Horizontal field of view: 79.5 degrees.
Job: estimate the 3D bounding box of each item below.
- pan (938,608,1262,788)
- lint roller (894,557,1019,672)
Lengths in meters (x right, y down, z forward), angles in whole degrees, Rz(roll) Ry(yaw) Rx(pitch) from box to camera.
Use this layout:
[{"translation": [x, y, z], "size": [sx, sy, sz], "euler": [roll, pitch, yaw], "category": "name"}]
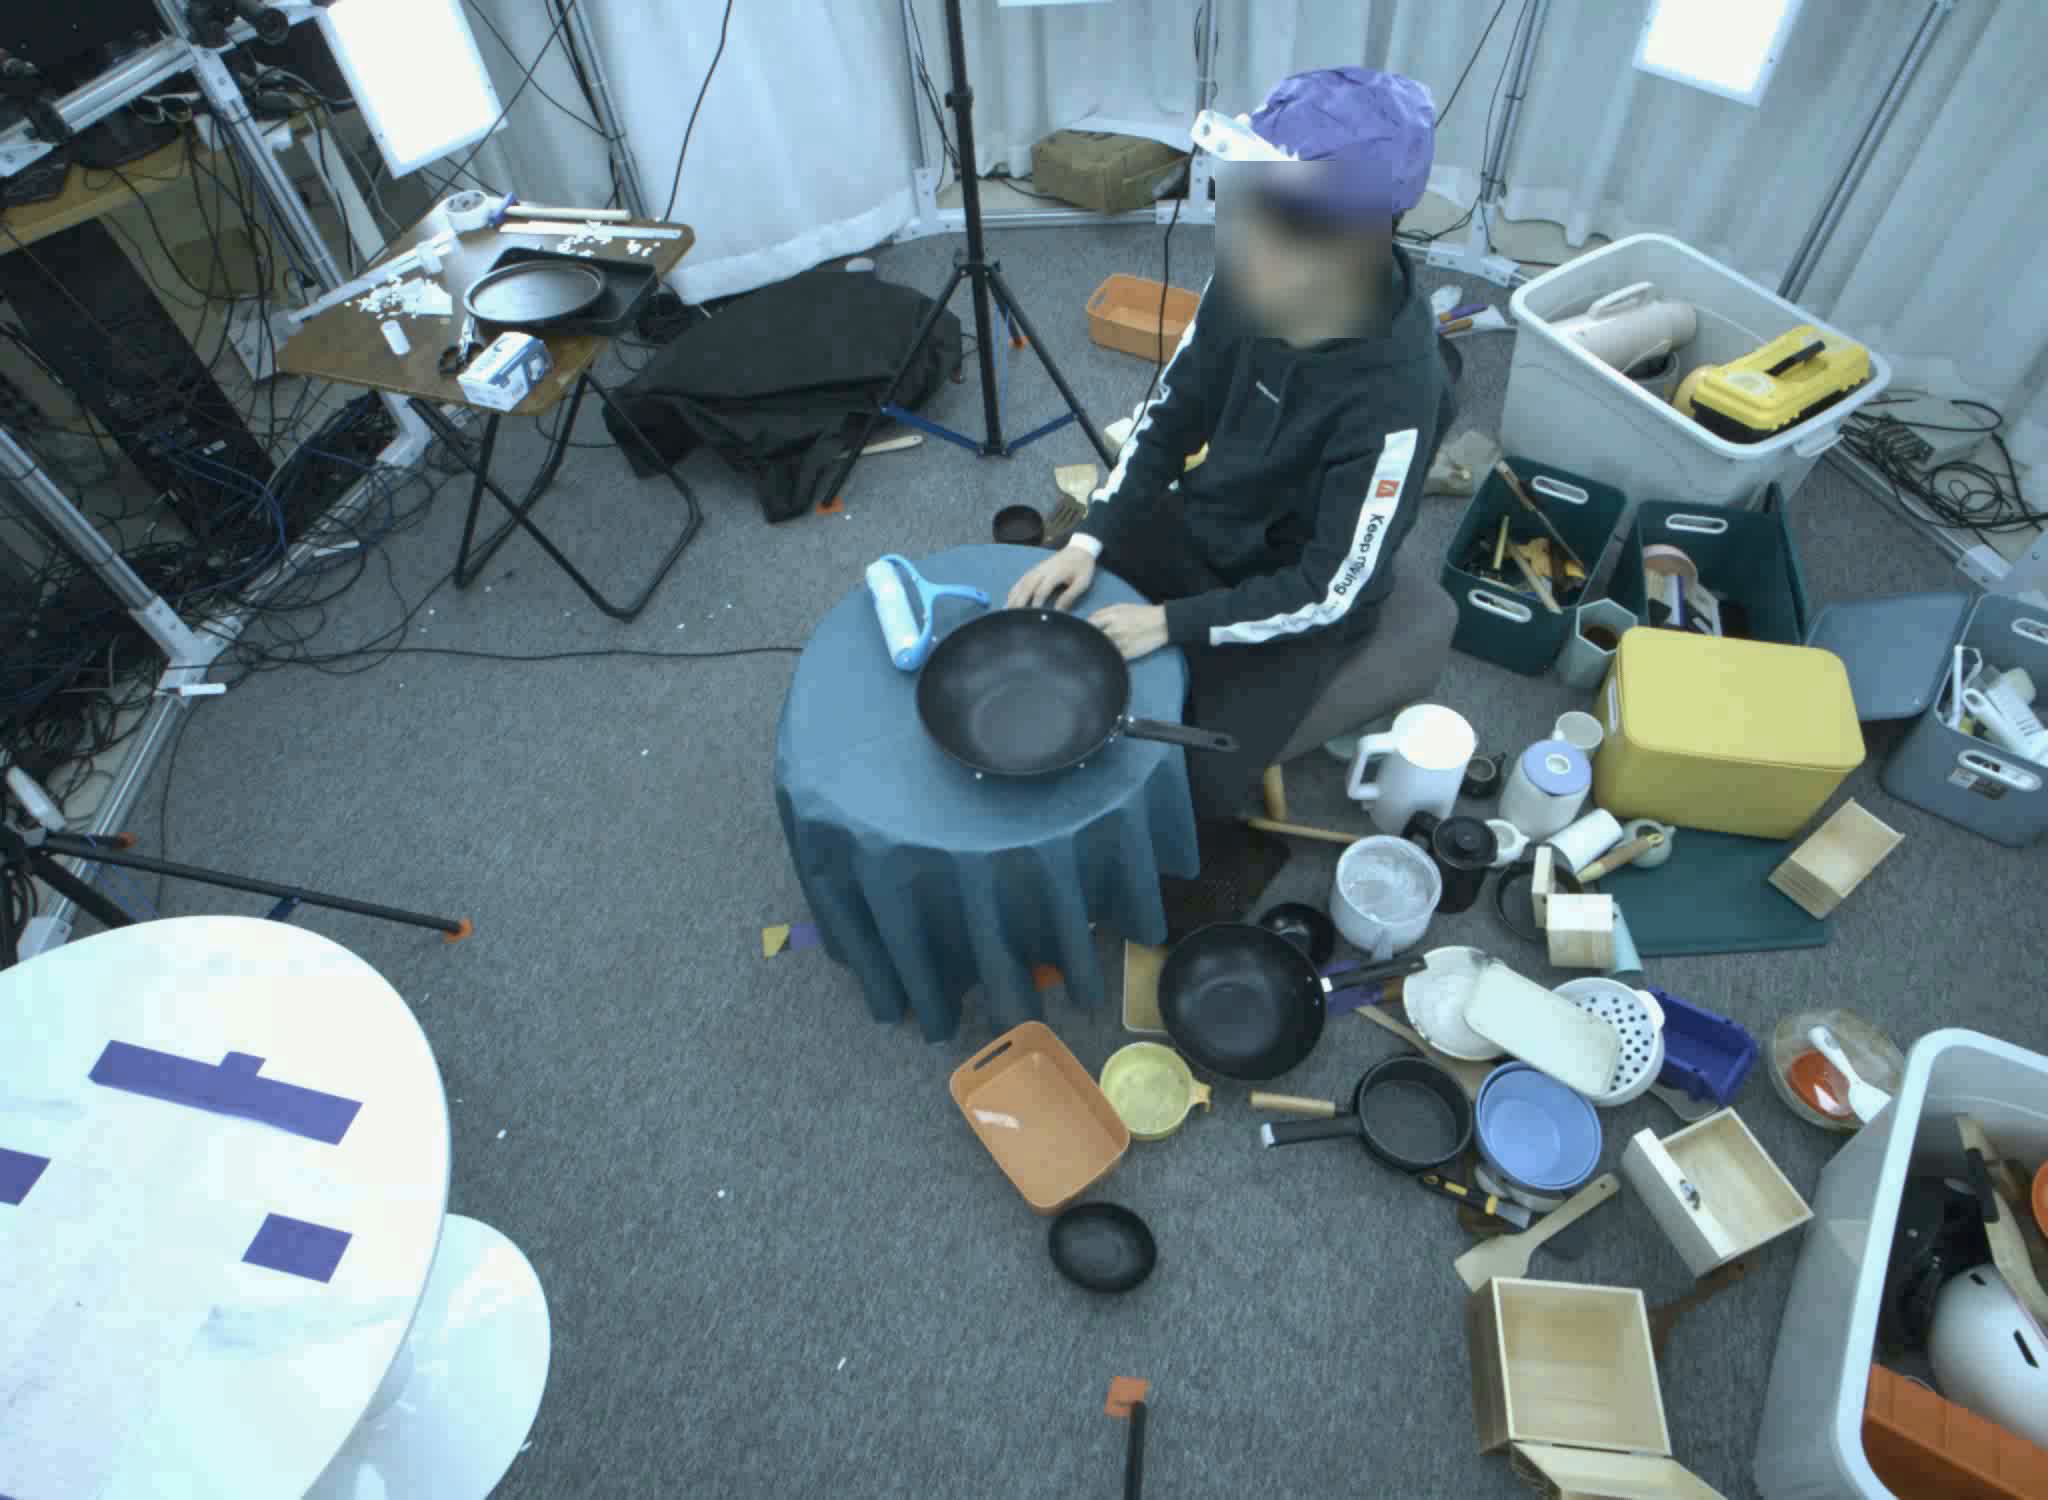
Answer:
[{"translation": [0.108, -0.040, 1.742], "size": [0.471, 0.113, 0.310], "euler": [21, 60, 16], "category": "pan"}, {"translation": [-0.100, -0.229, 1.914], "size": [0.181, 0.069, 0.225], "euler": [-19, 53, -7], "category": "lint roller"}]
